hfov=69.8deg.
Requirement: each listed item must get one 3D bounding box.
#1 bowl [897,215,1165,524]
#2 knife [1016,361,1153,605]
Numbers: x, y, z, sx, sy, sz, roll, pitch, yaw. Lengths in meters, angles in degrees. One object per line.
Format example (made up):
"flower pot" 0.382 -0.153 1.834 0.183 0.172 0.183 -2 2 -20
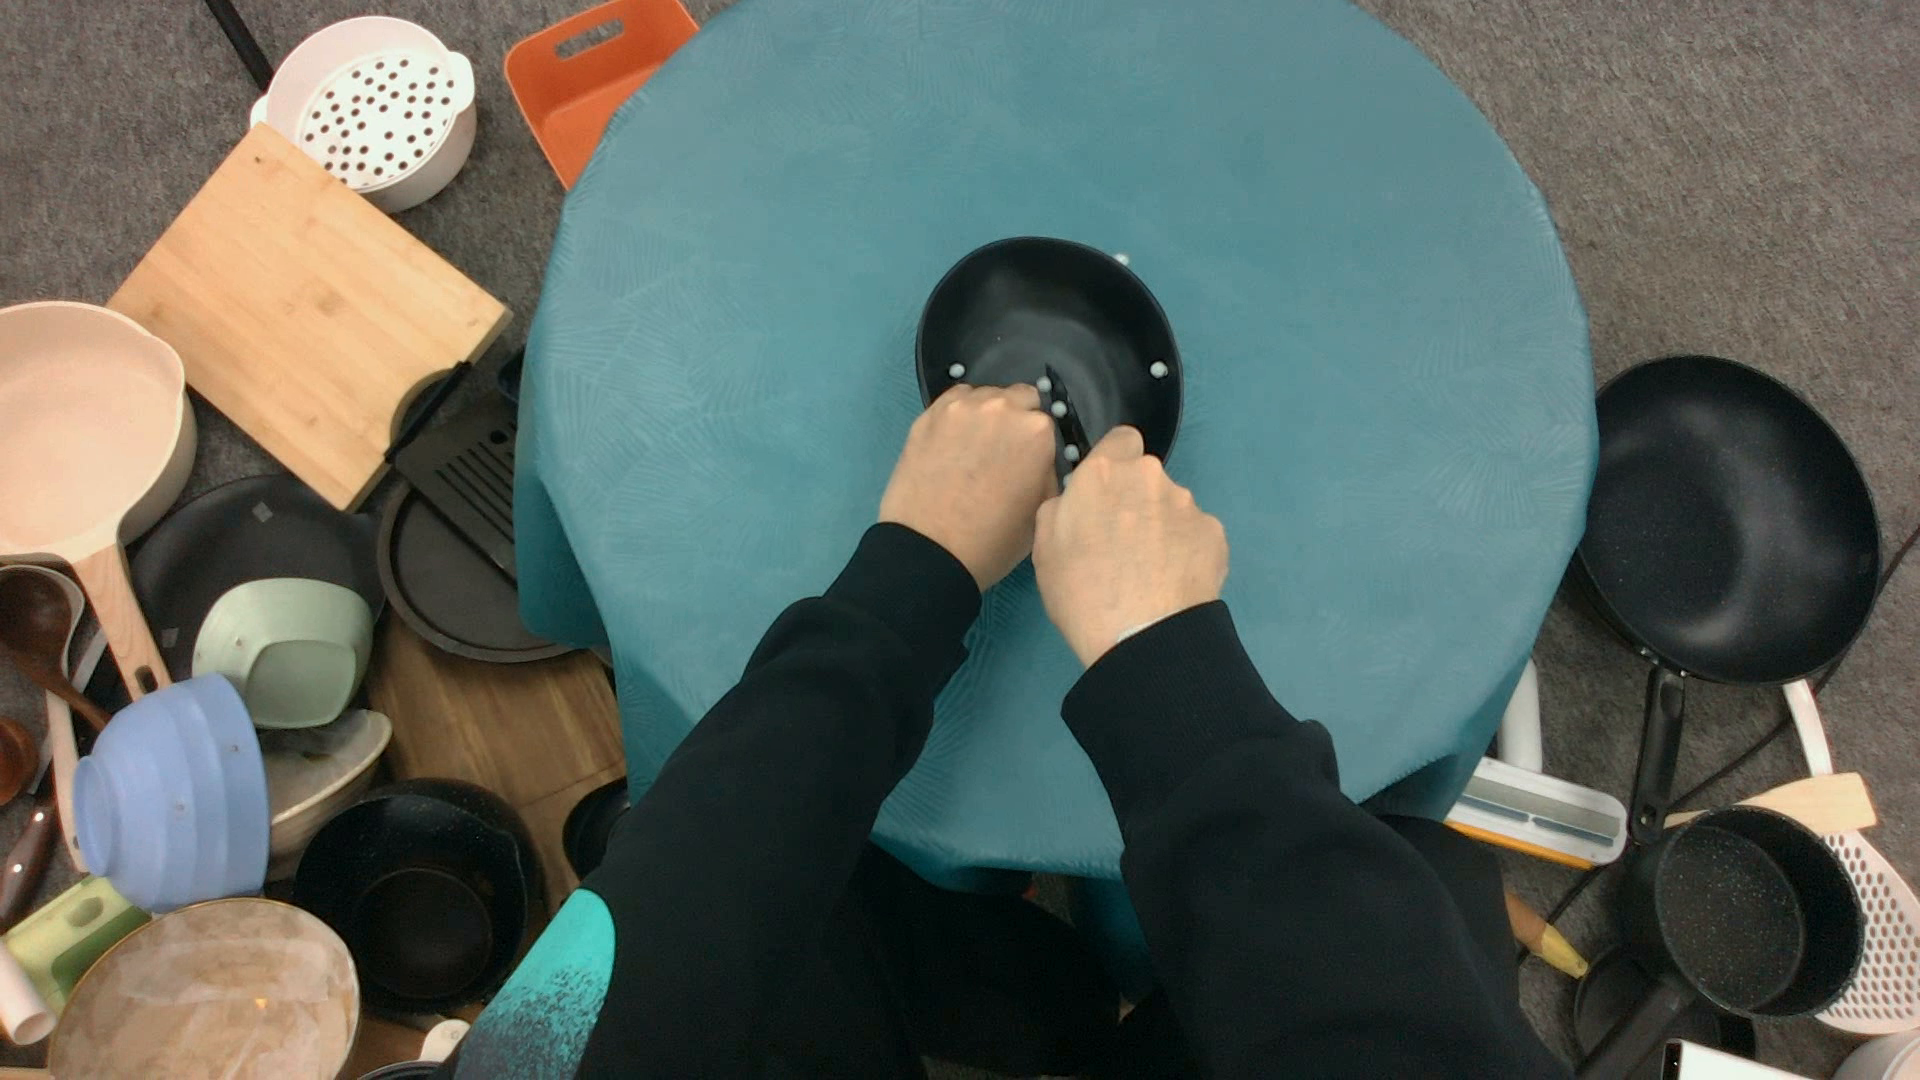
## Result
"bowl" 0.036 -0.086 0.732 0.137 0.066 0.170 -13 74 -7
"knife" 0.055 -0.040 0.670 0.017 0.026 0.226 2 34 -14
